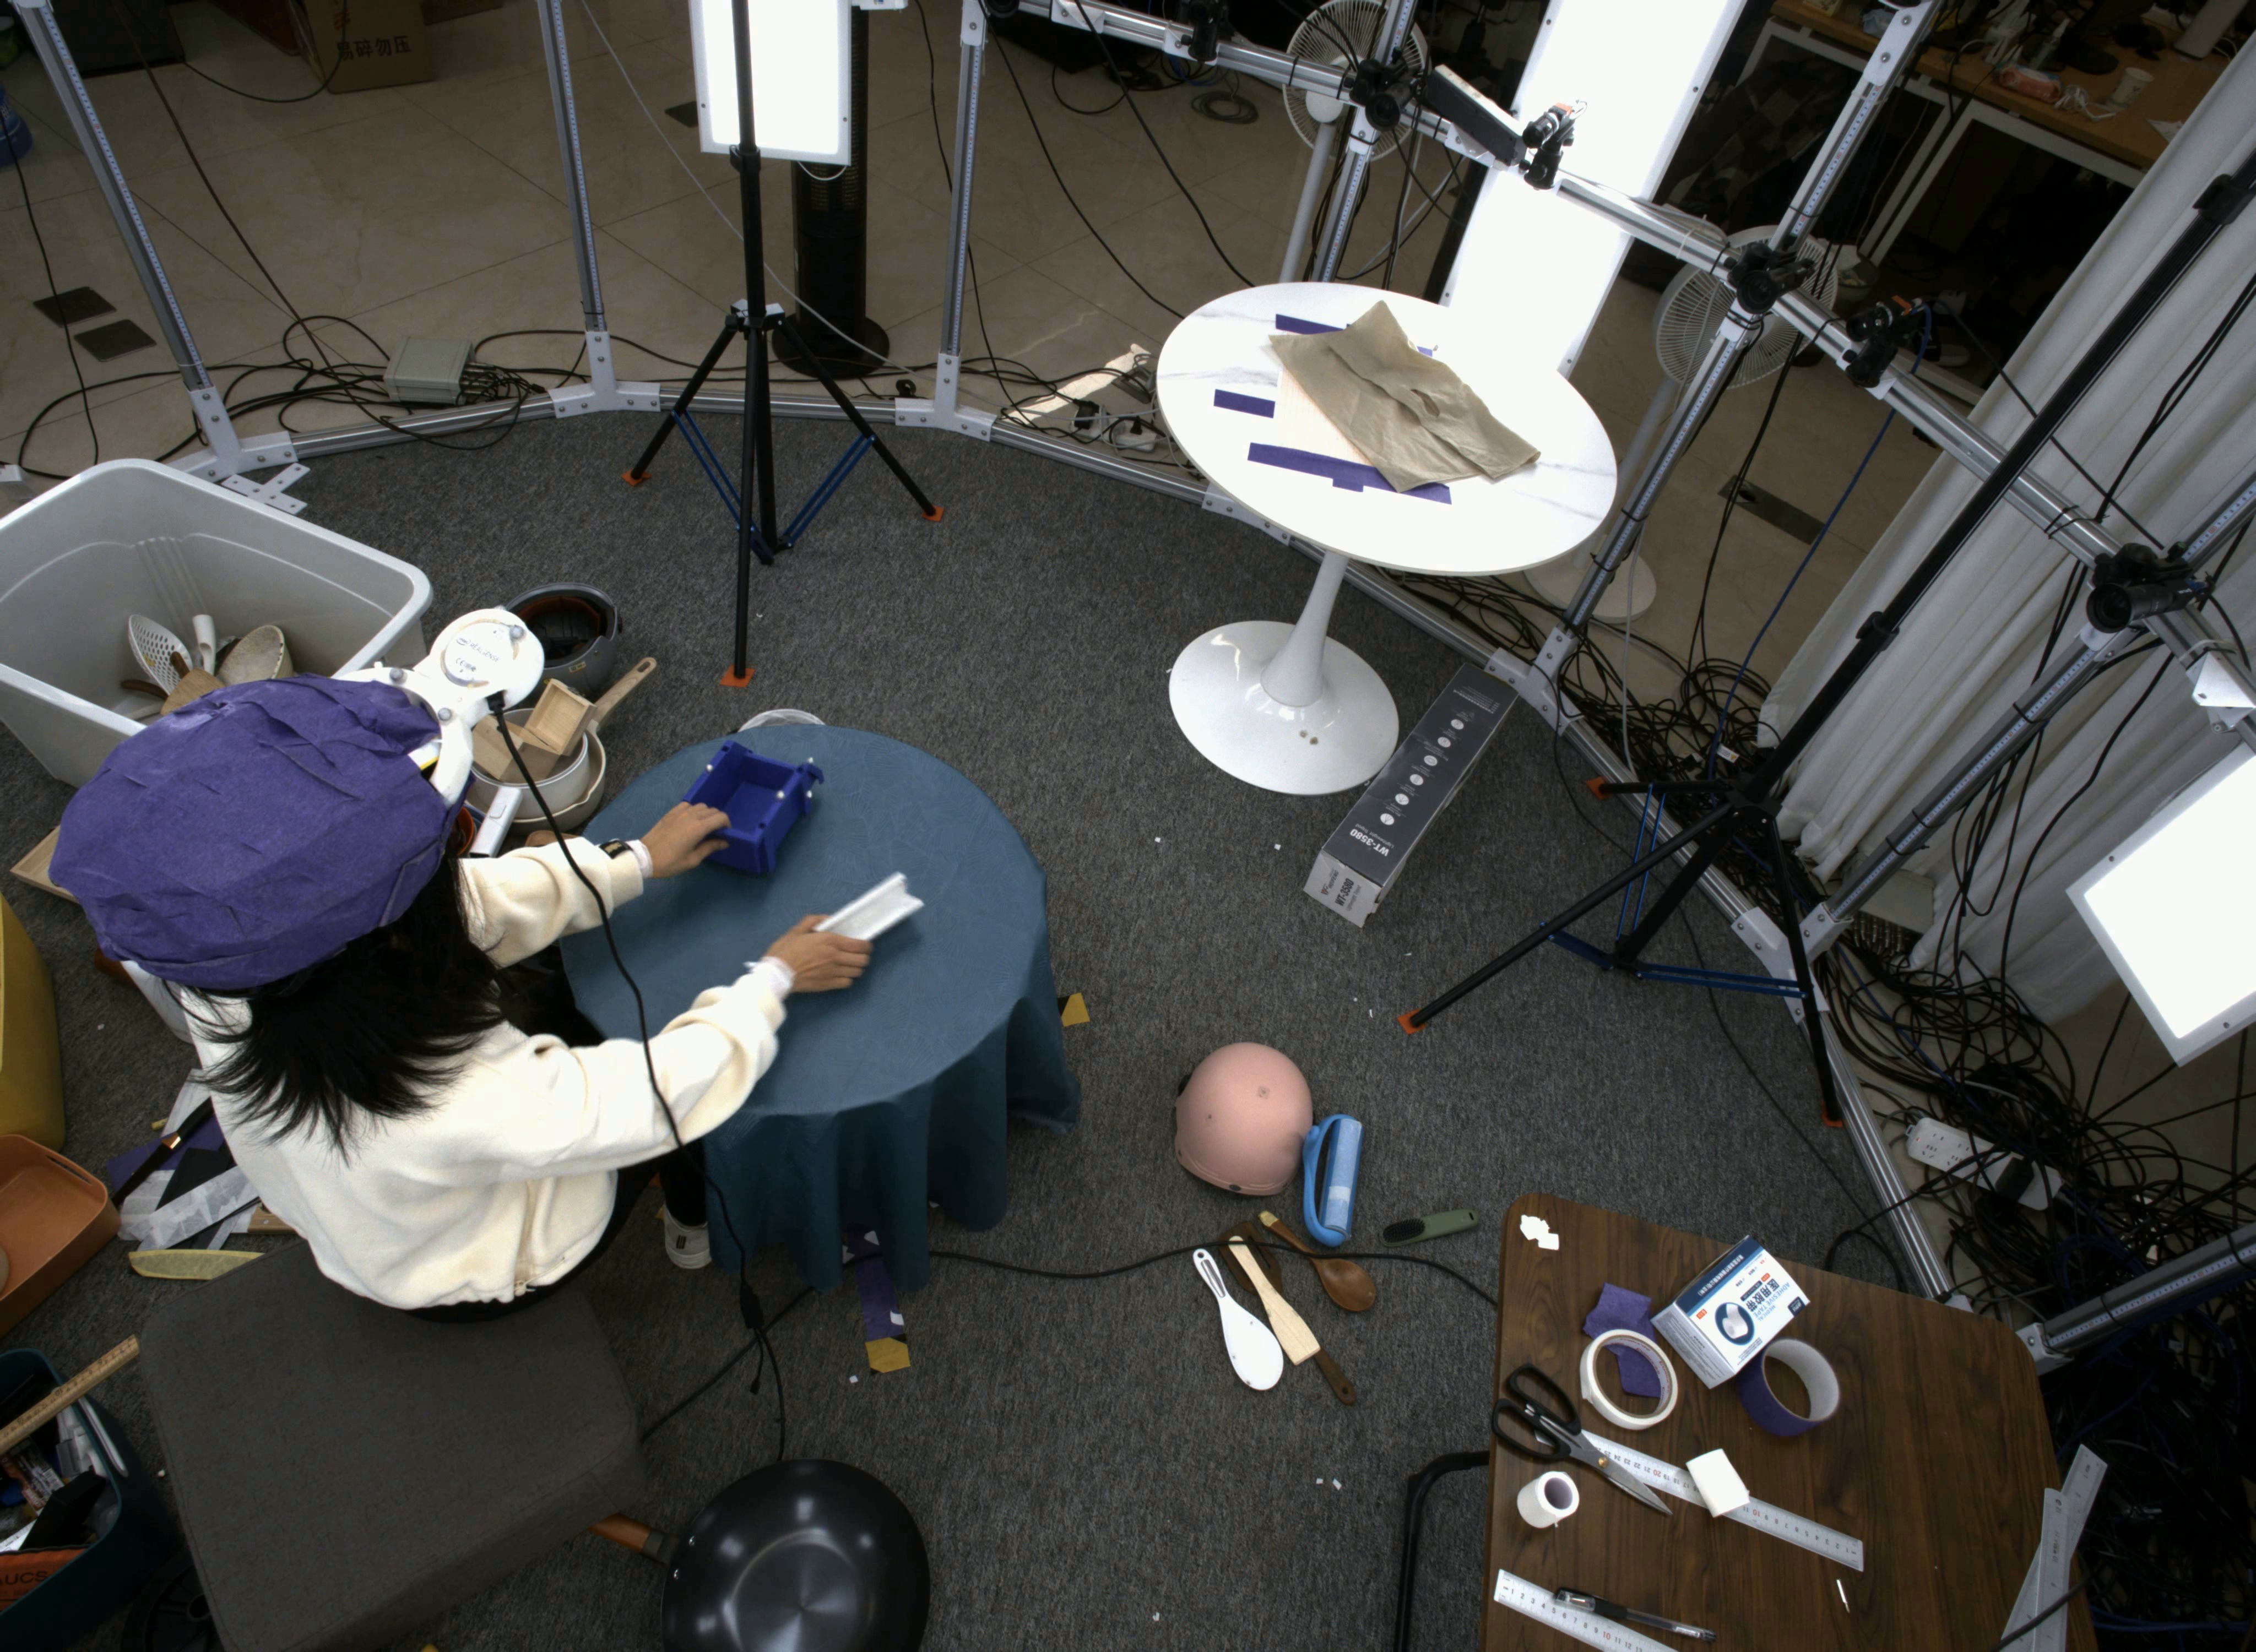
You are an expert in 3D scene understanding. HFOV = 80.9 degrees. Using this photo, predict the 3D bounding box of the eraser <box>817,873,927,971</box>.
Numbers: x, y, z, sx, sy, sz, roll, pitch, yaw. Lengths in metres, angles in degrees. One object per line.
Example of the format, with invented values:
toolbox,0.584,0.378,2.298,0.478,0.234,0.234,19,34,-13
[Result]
eraser,-0.318,0.117,1.611,0.134,0.046,0.050,-38,93,-33

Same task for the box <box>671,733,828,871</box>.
box,-0.487,-0.038,1.670,0.122,0.084,0.178,18,51,7
